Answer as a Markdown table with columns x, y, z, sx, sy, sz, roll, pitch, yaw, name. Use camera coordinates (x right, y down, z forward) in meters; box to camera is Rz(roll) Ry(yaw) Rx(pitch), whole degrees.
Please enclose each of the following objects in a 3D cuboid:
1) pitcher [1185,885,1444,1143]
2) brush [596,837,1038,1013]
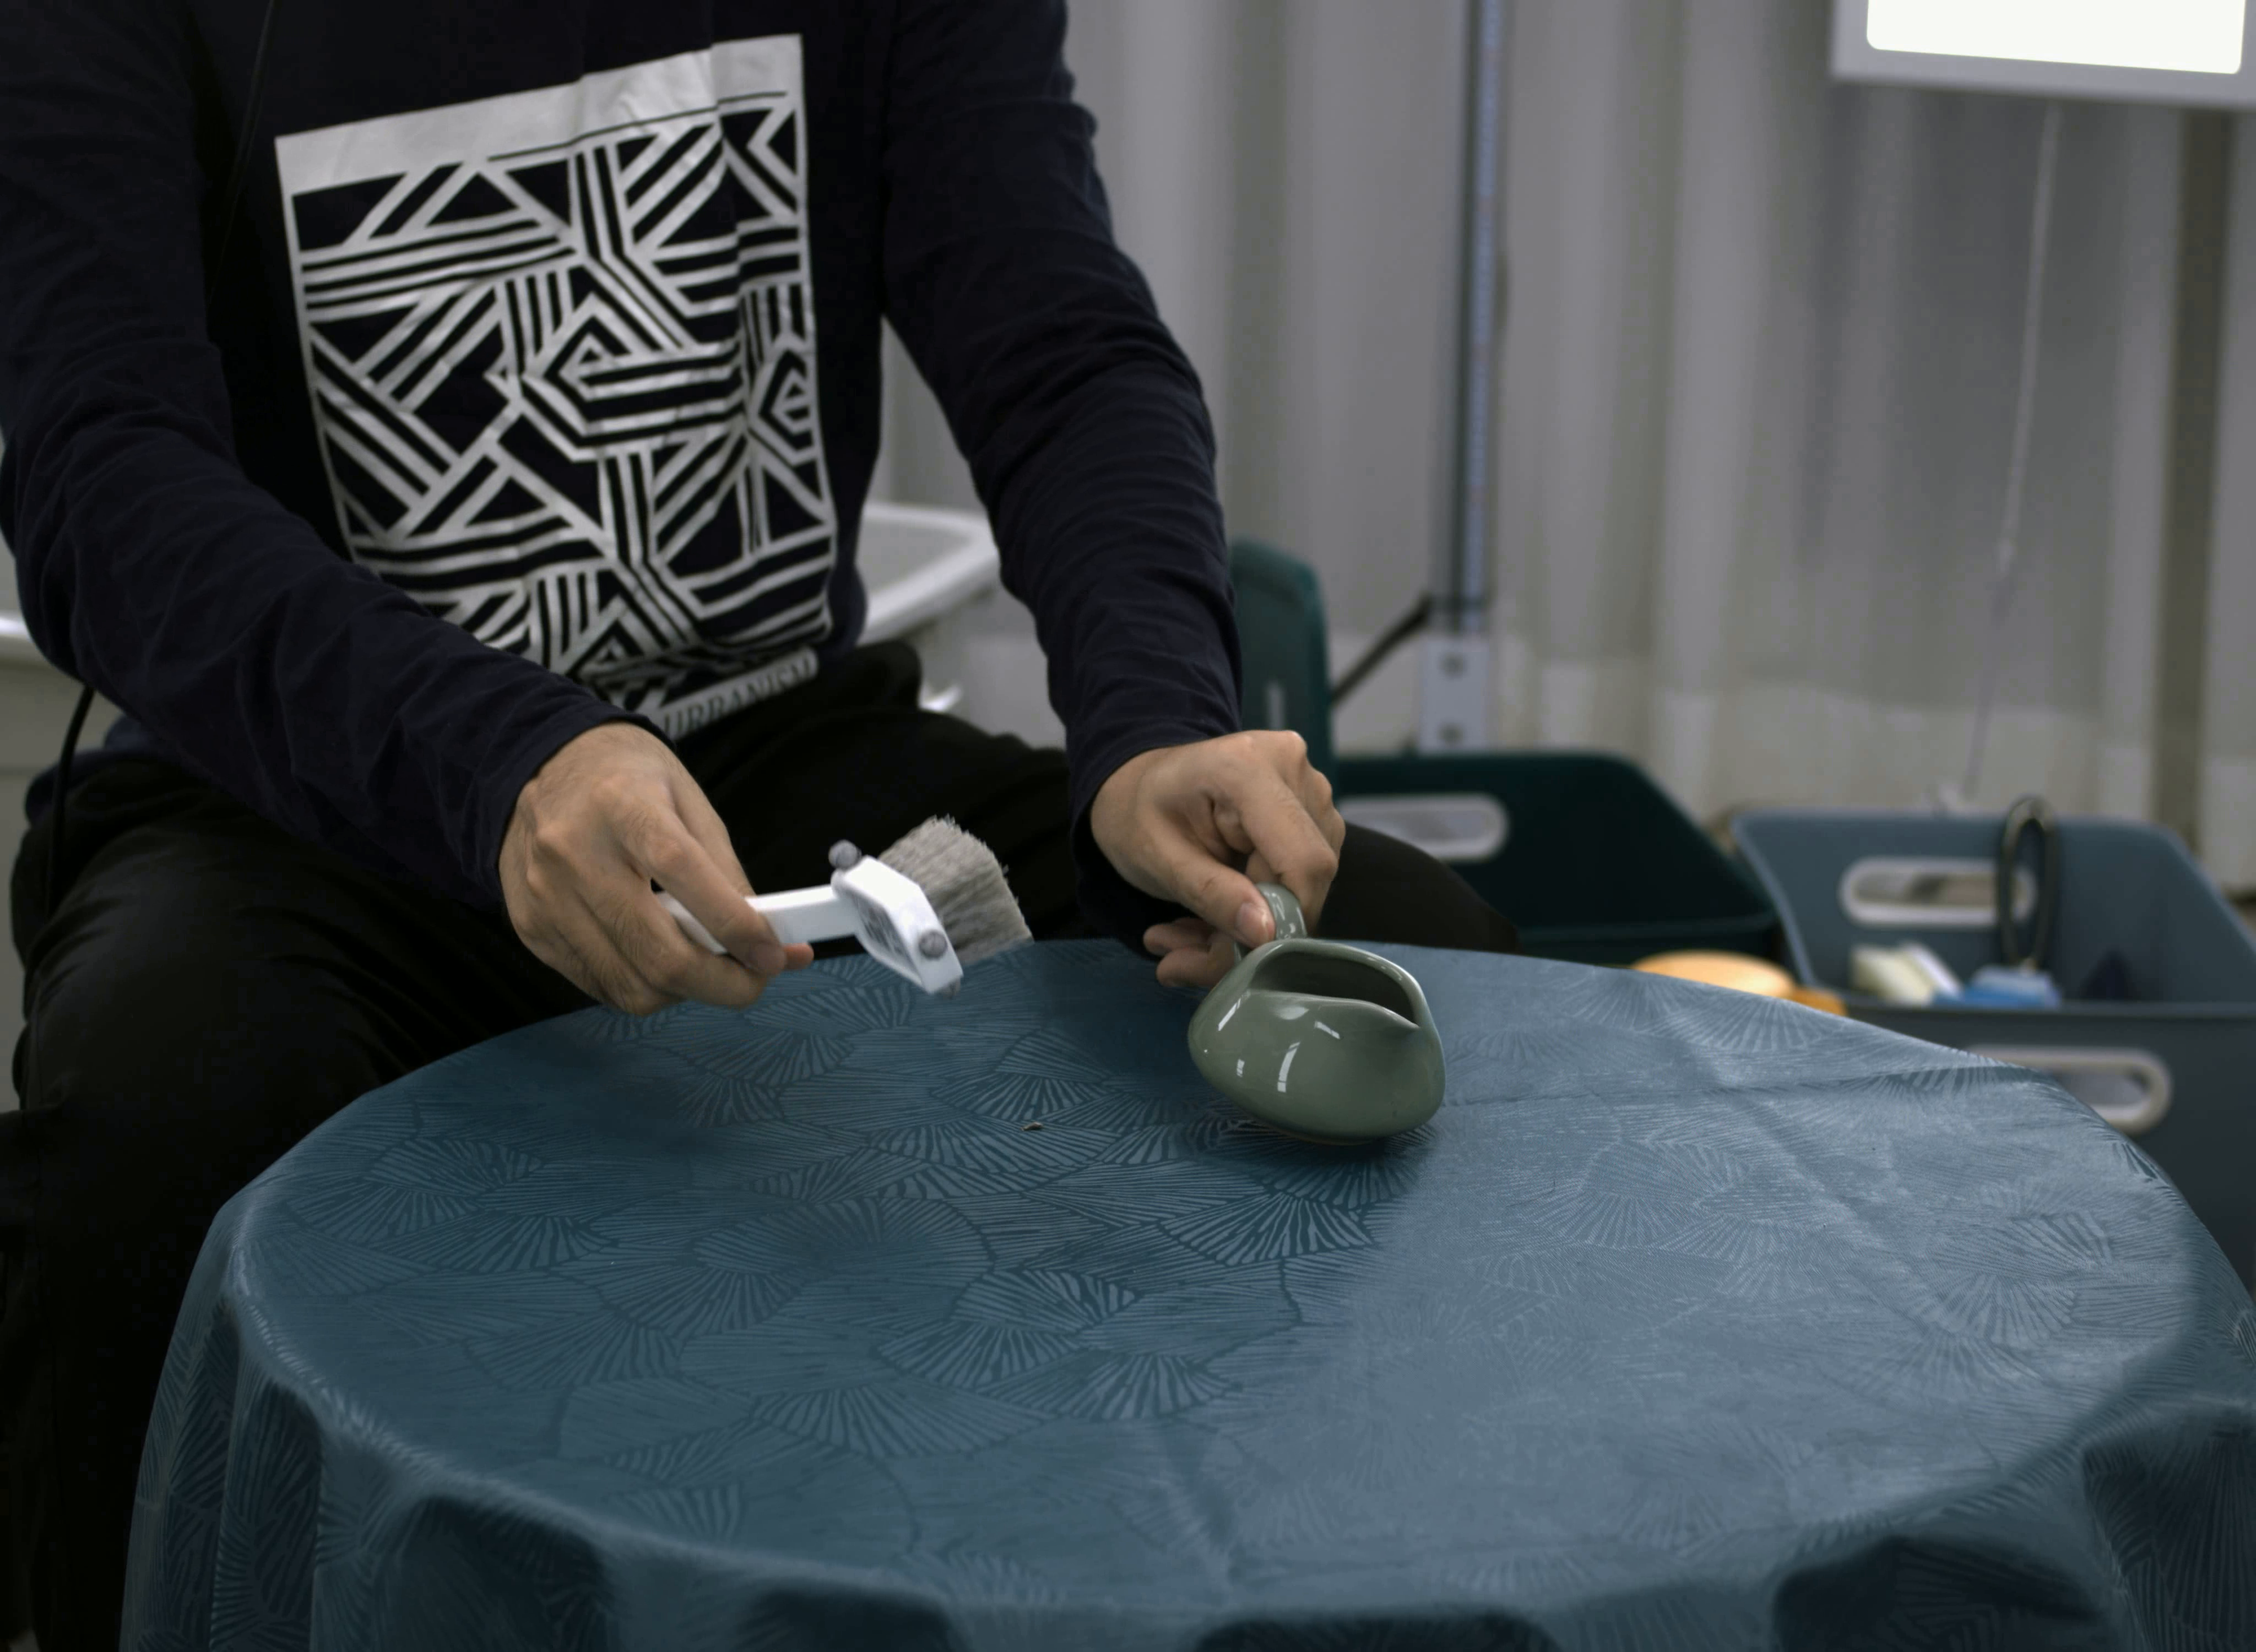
| x | y | z | sx | sy | sz | roll | pitch | yaw | name |
| --- | --- | --- | --- | --- | --- | --- | --- | --- | --- |
| 0.058 | 0.062 | 1.680 | 0.085 | 0.056 | 0.111 | 0 | 23 | -33 | pitcher |
| -0.099 | 0.030 | 1.649 | 0.050 | 0.035 | 0.241 | -46 | 20 | -23 | brush |
